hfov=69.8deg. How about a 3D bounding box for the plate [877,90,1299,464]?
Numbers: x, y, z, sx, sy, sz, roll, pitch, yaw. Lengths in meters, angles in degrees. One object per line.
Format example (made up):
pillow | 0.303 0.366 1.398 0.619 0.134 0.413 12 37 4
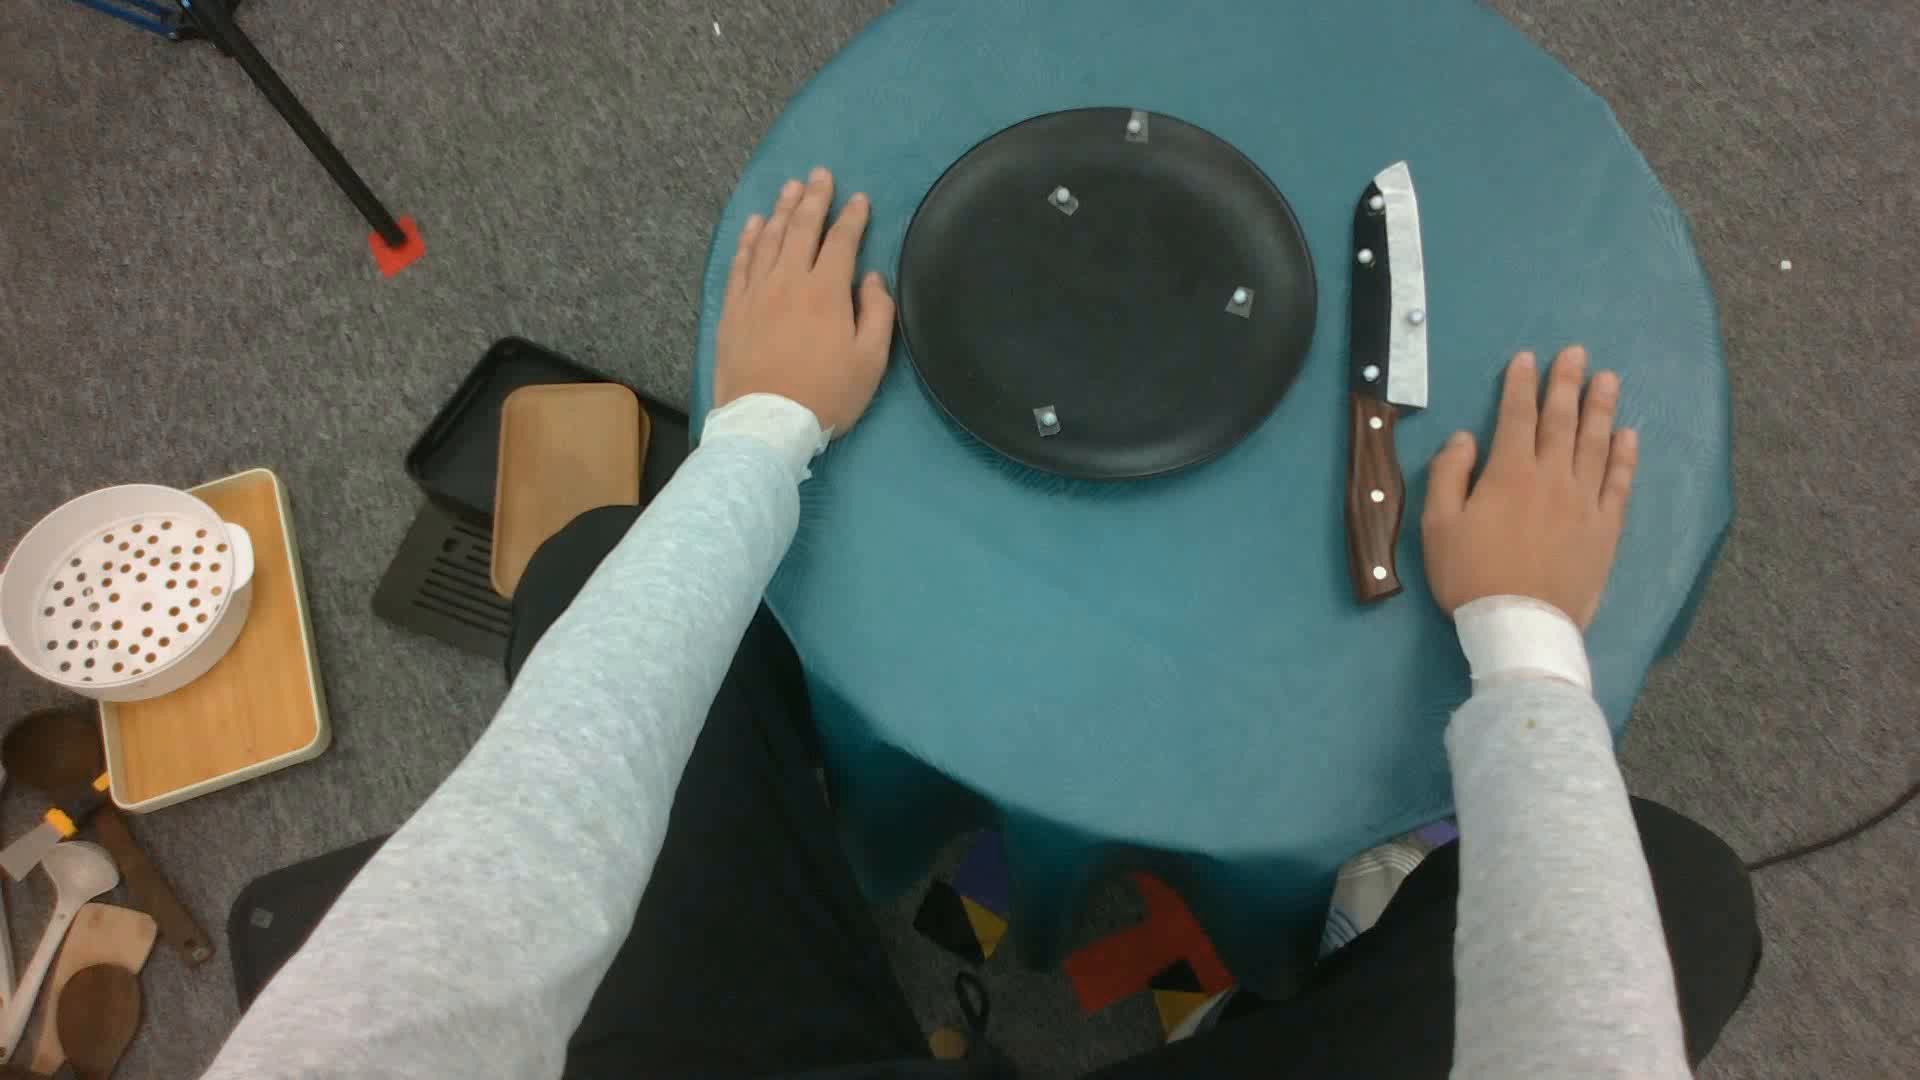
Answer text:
plate | 0.074 -0.154 0.802 0.244 0.023 0.245 0 71 0

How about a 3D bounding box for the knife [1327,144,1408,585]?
knife | 0.233 -0.110 0.792 0.050 0.020 0.290 9 69 -2
